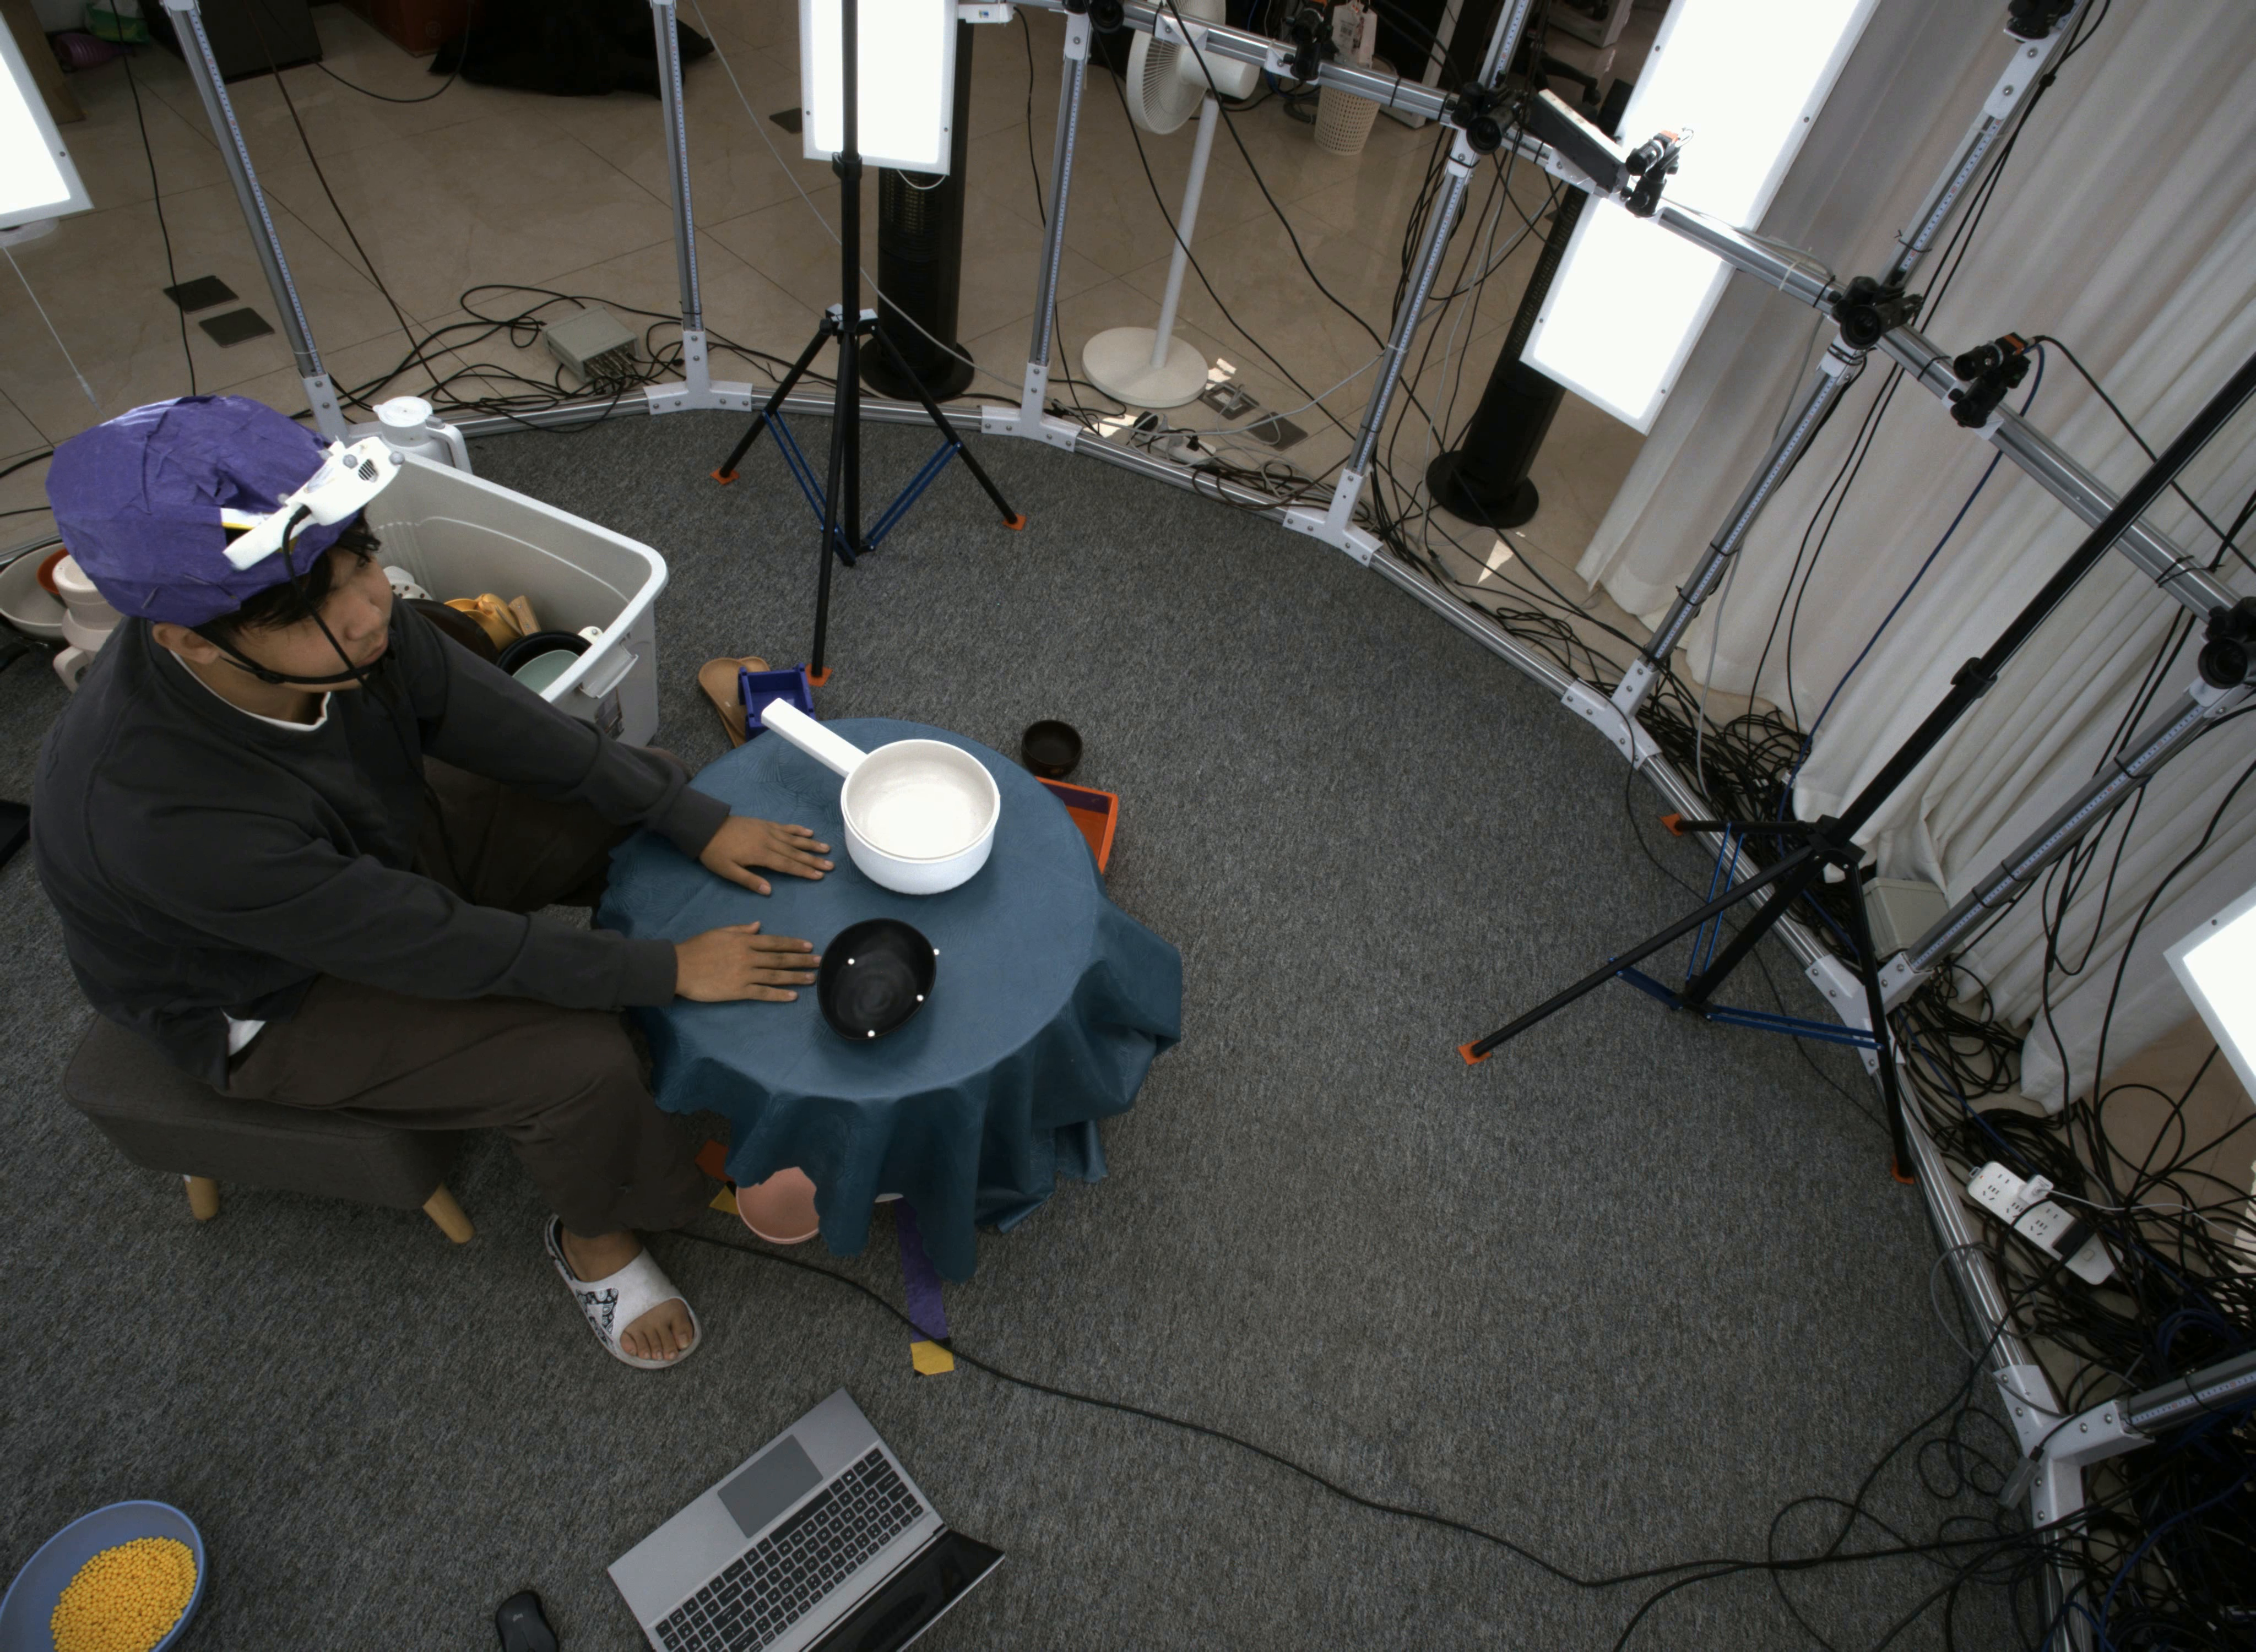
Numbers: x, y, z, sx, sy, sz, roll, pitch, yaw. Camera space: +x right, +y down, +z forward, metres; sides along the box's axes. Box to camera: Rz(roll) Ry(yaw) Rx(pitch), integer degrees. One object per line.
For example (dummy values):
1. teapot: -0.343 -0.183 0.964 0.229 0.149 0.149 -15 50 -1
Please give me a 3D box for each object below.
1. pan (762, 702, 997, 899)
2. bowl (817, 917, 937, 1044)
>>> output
1. pan: -0.335 -0.041 1.720 0.348 0.104 0.201 30 56 12
2. bowl: -0.302 0.193 1.565 0.136 0.068 0.168 17 53 0
